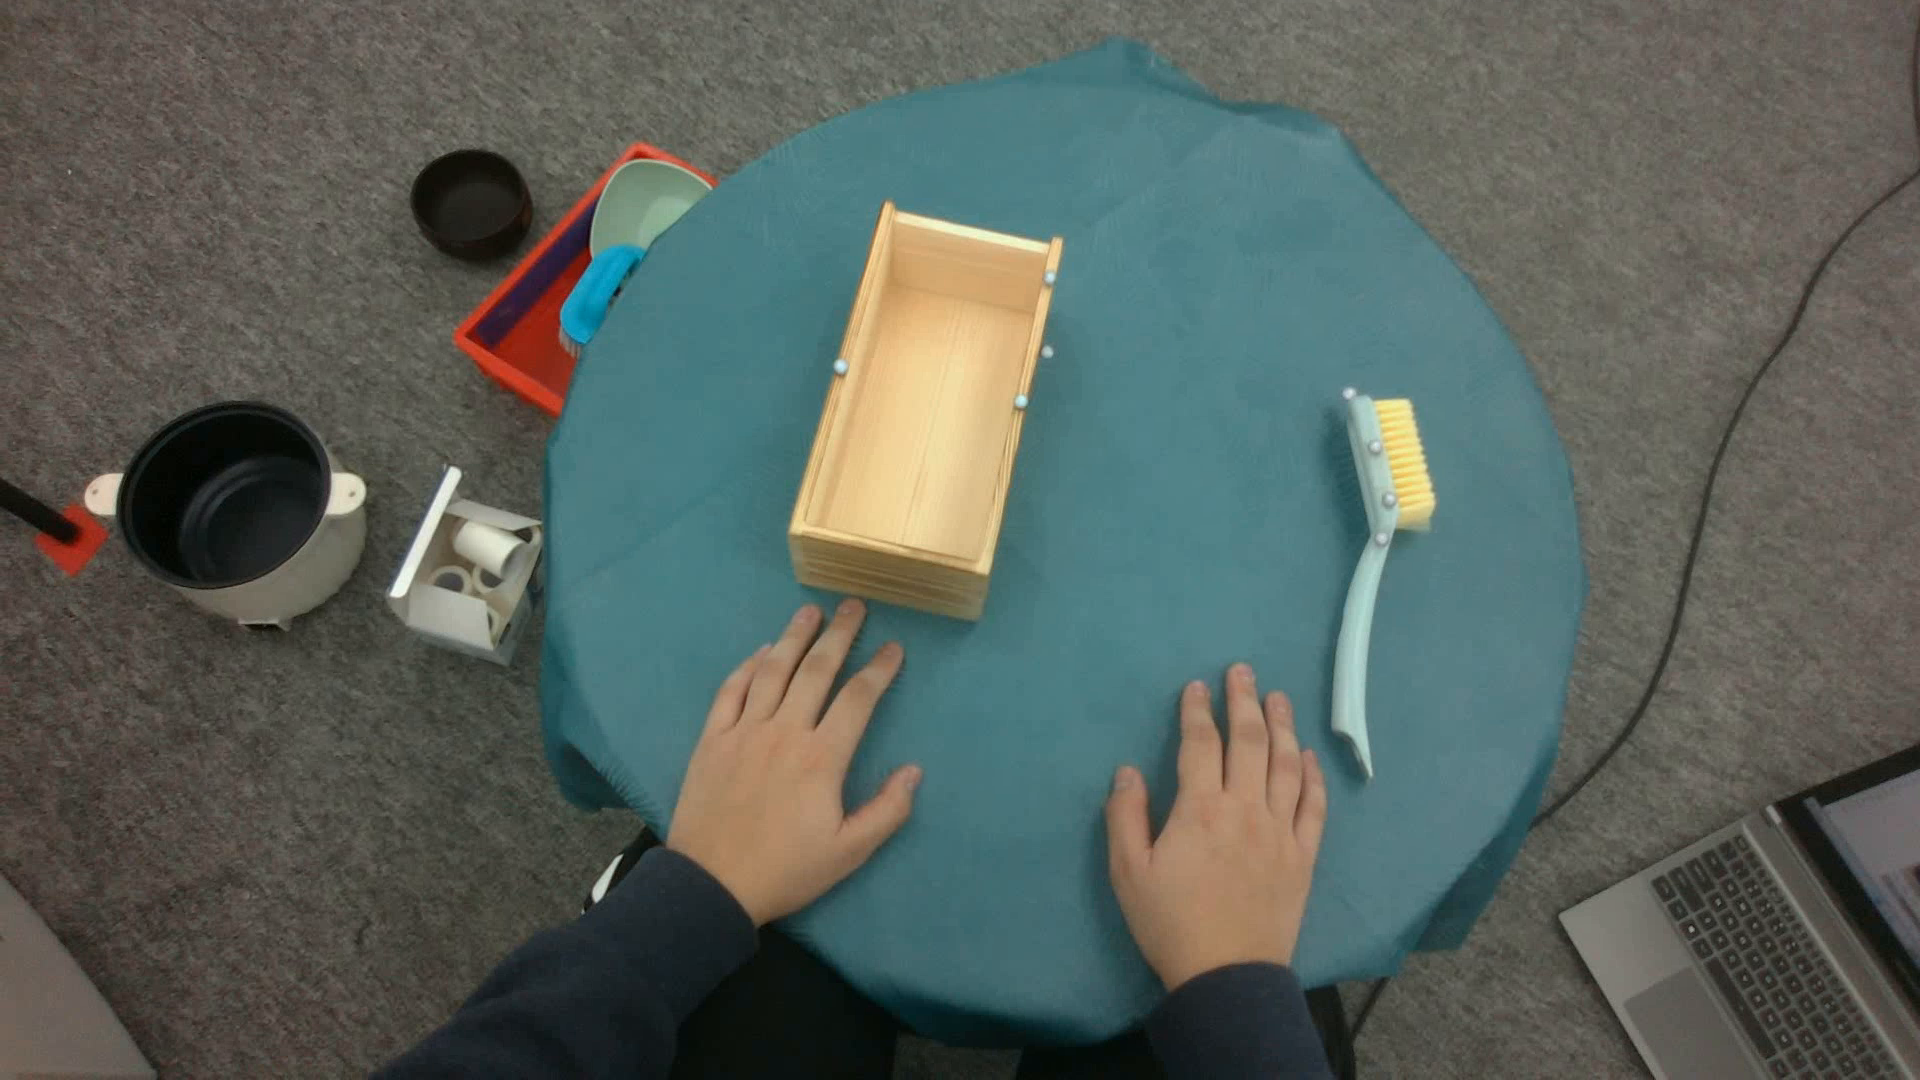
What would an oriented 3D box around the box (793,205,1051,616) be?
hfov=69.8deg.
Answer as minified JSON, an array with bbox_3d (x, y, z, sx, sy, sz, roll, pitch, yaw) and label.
[{"bbox_3d":[-0.018,-0.075,0.784,0.107,0.080,0.212,9,68,2],"label":"box"}]

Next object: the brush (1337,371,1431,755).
[{"bbox_3d":[0.242,0.008,0.781,0.049,0.037,0.229,2,68,8],"label":"brush"}]
